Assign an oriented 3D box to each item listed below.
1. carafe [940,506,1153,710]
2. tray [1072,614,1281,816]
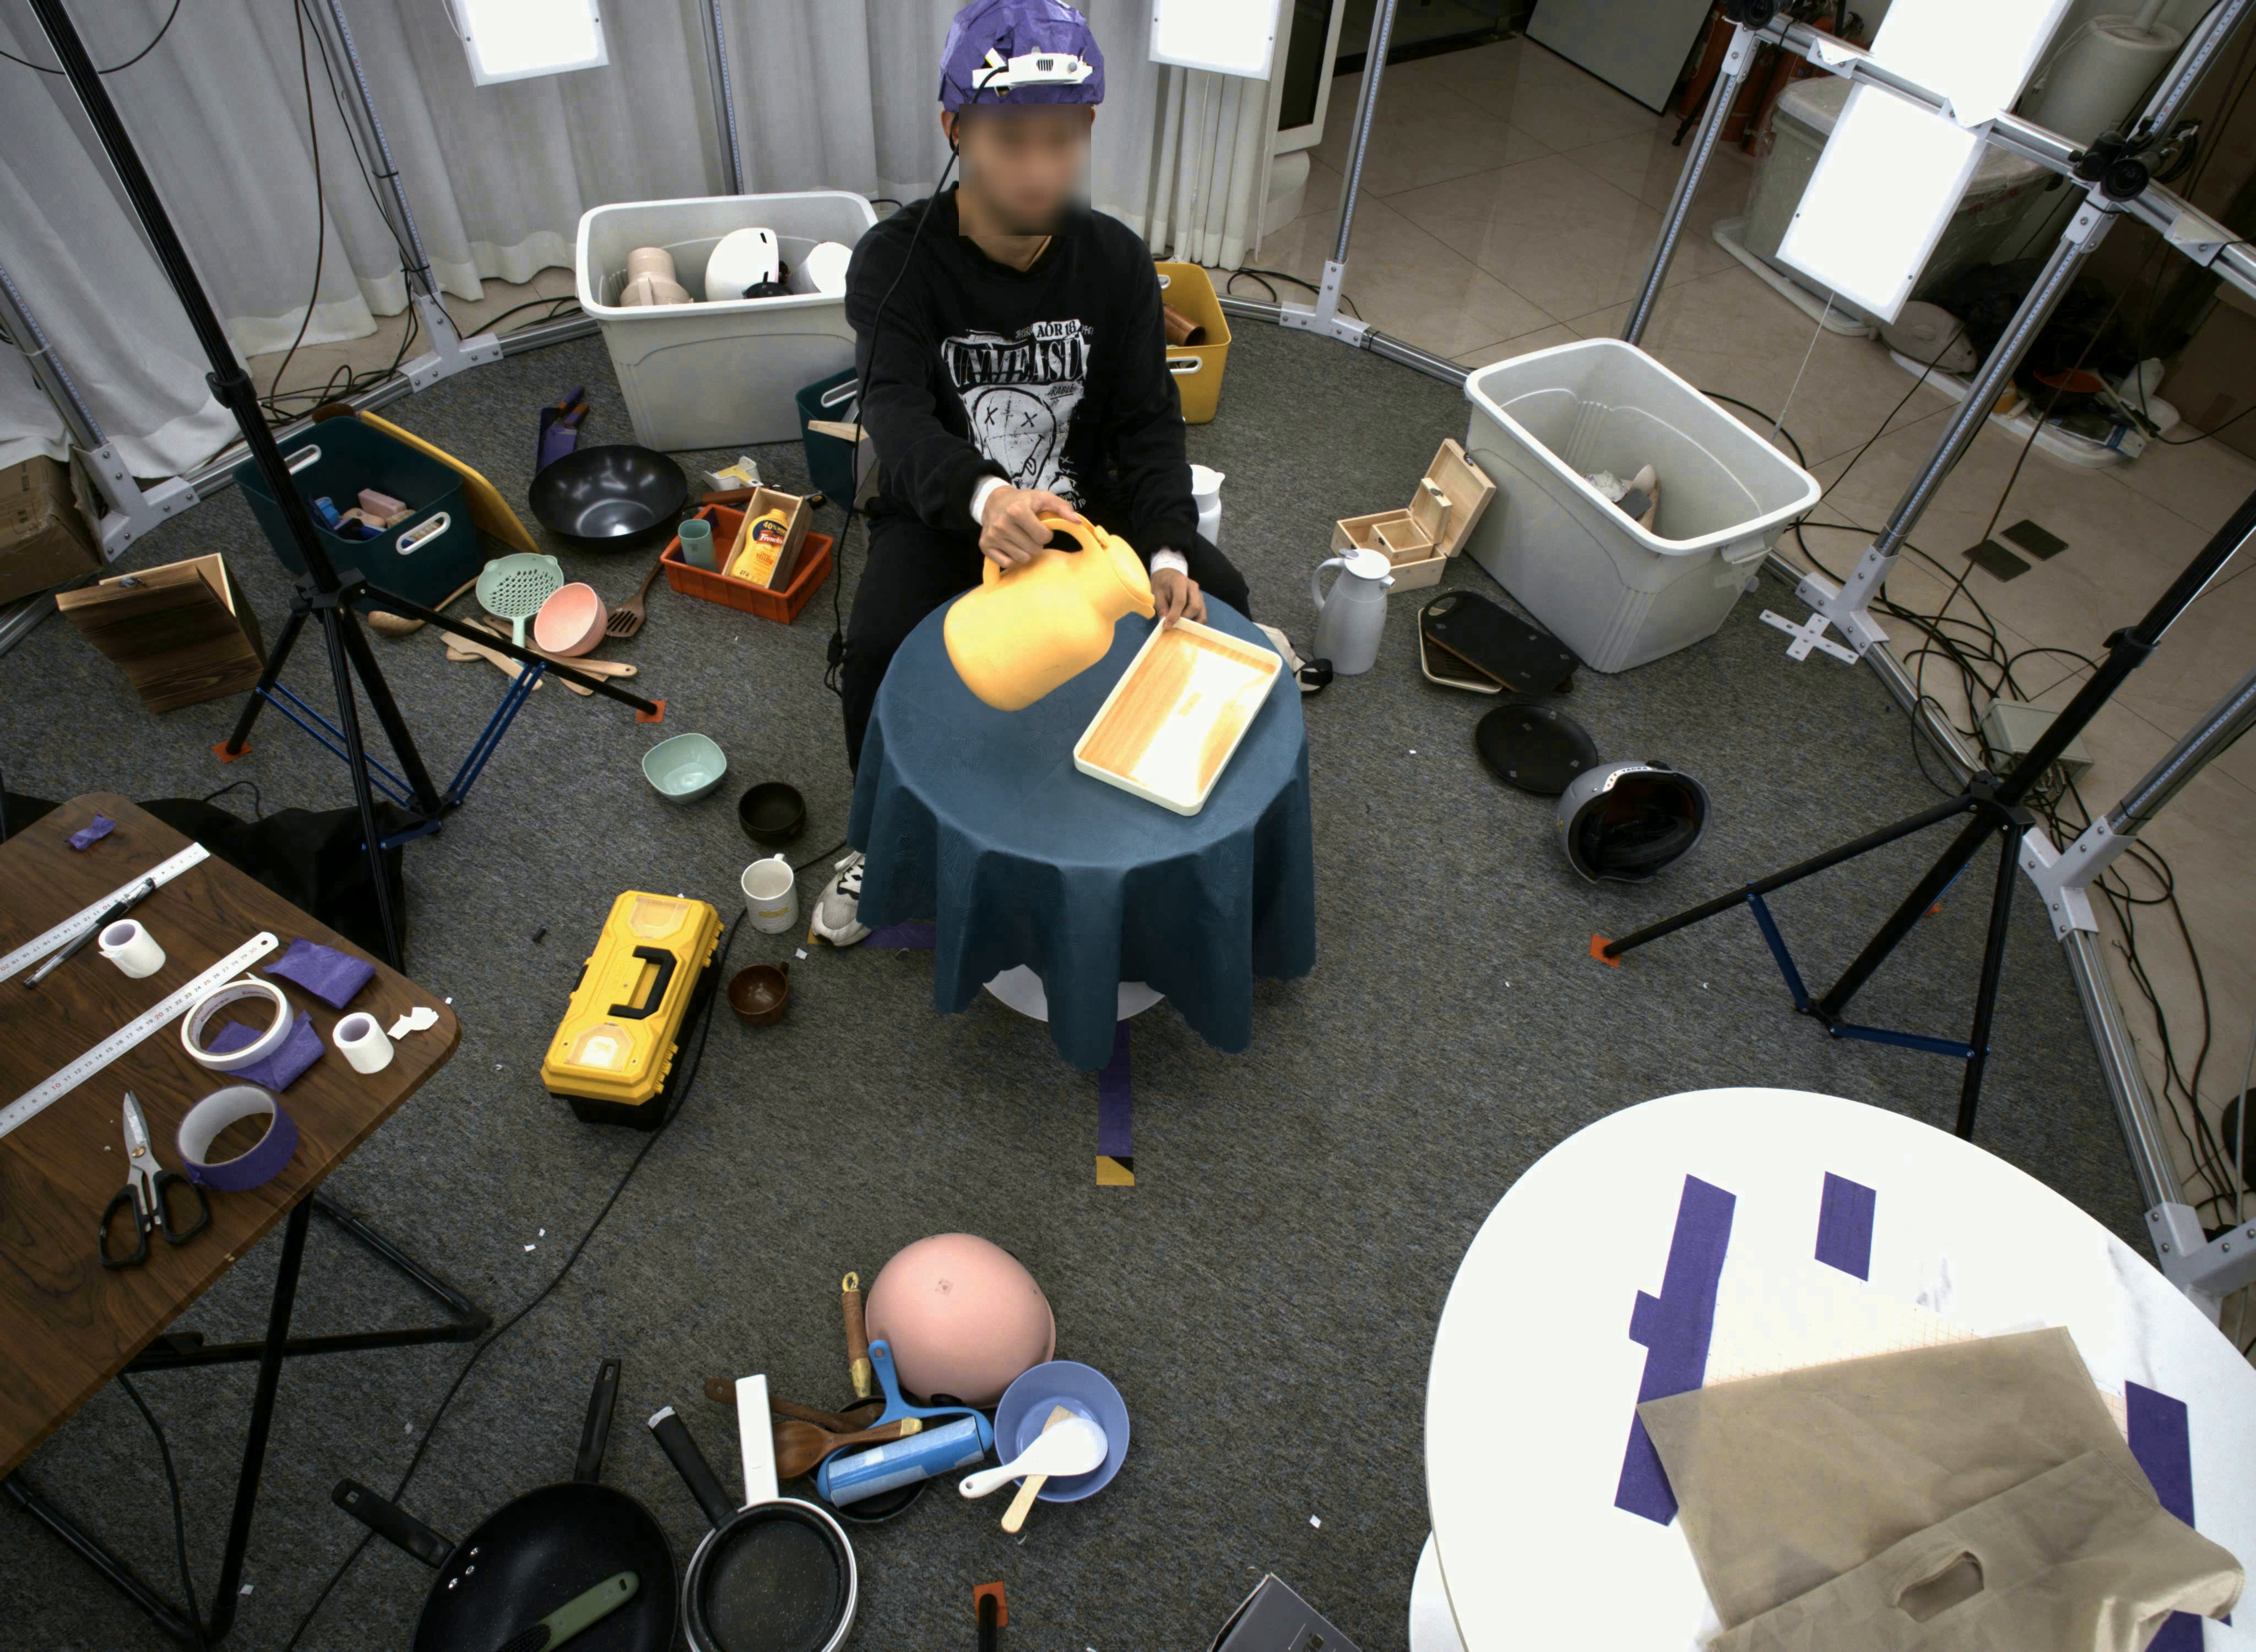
[{"bbox_3d":[-0.111,-0.280,1.614,0.259,0.199,0.167,-29,31,21],"label":"carafe"},{"bbox_3d":[0.071,-0.160,1.775,0.193,0.027,0.305,23,57,15],"label":"tray"}]
